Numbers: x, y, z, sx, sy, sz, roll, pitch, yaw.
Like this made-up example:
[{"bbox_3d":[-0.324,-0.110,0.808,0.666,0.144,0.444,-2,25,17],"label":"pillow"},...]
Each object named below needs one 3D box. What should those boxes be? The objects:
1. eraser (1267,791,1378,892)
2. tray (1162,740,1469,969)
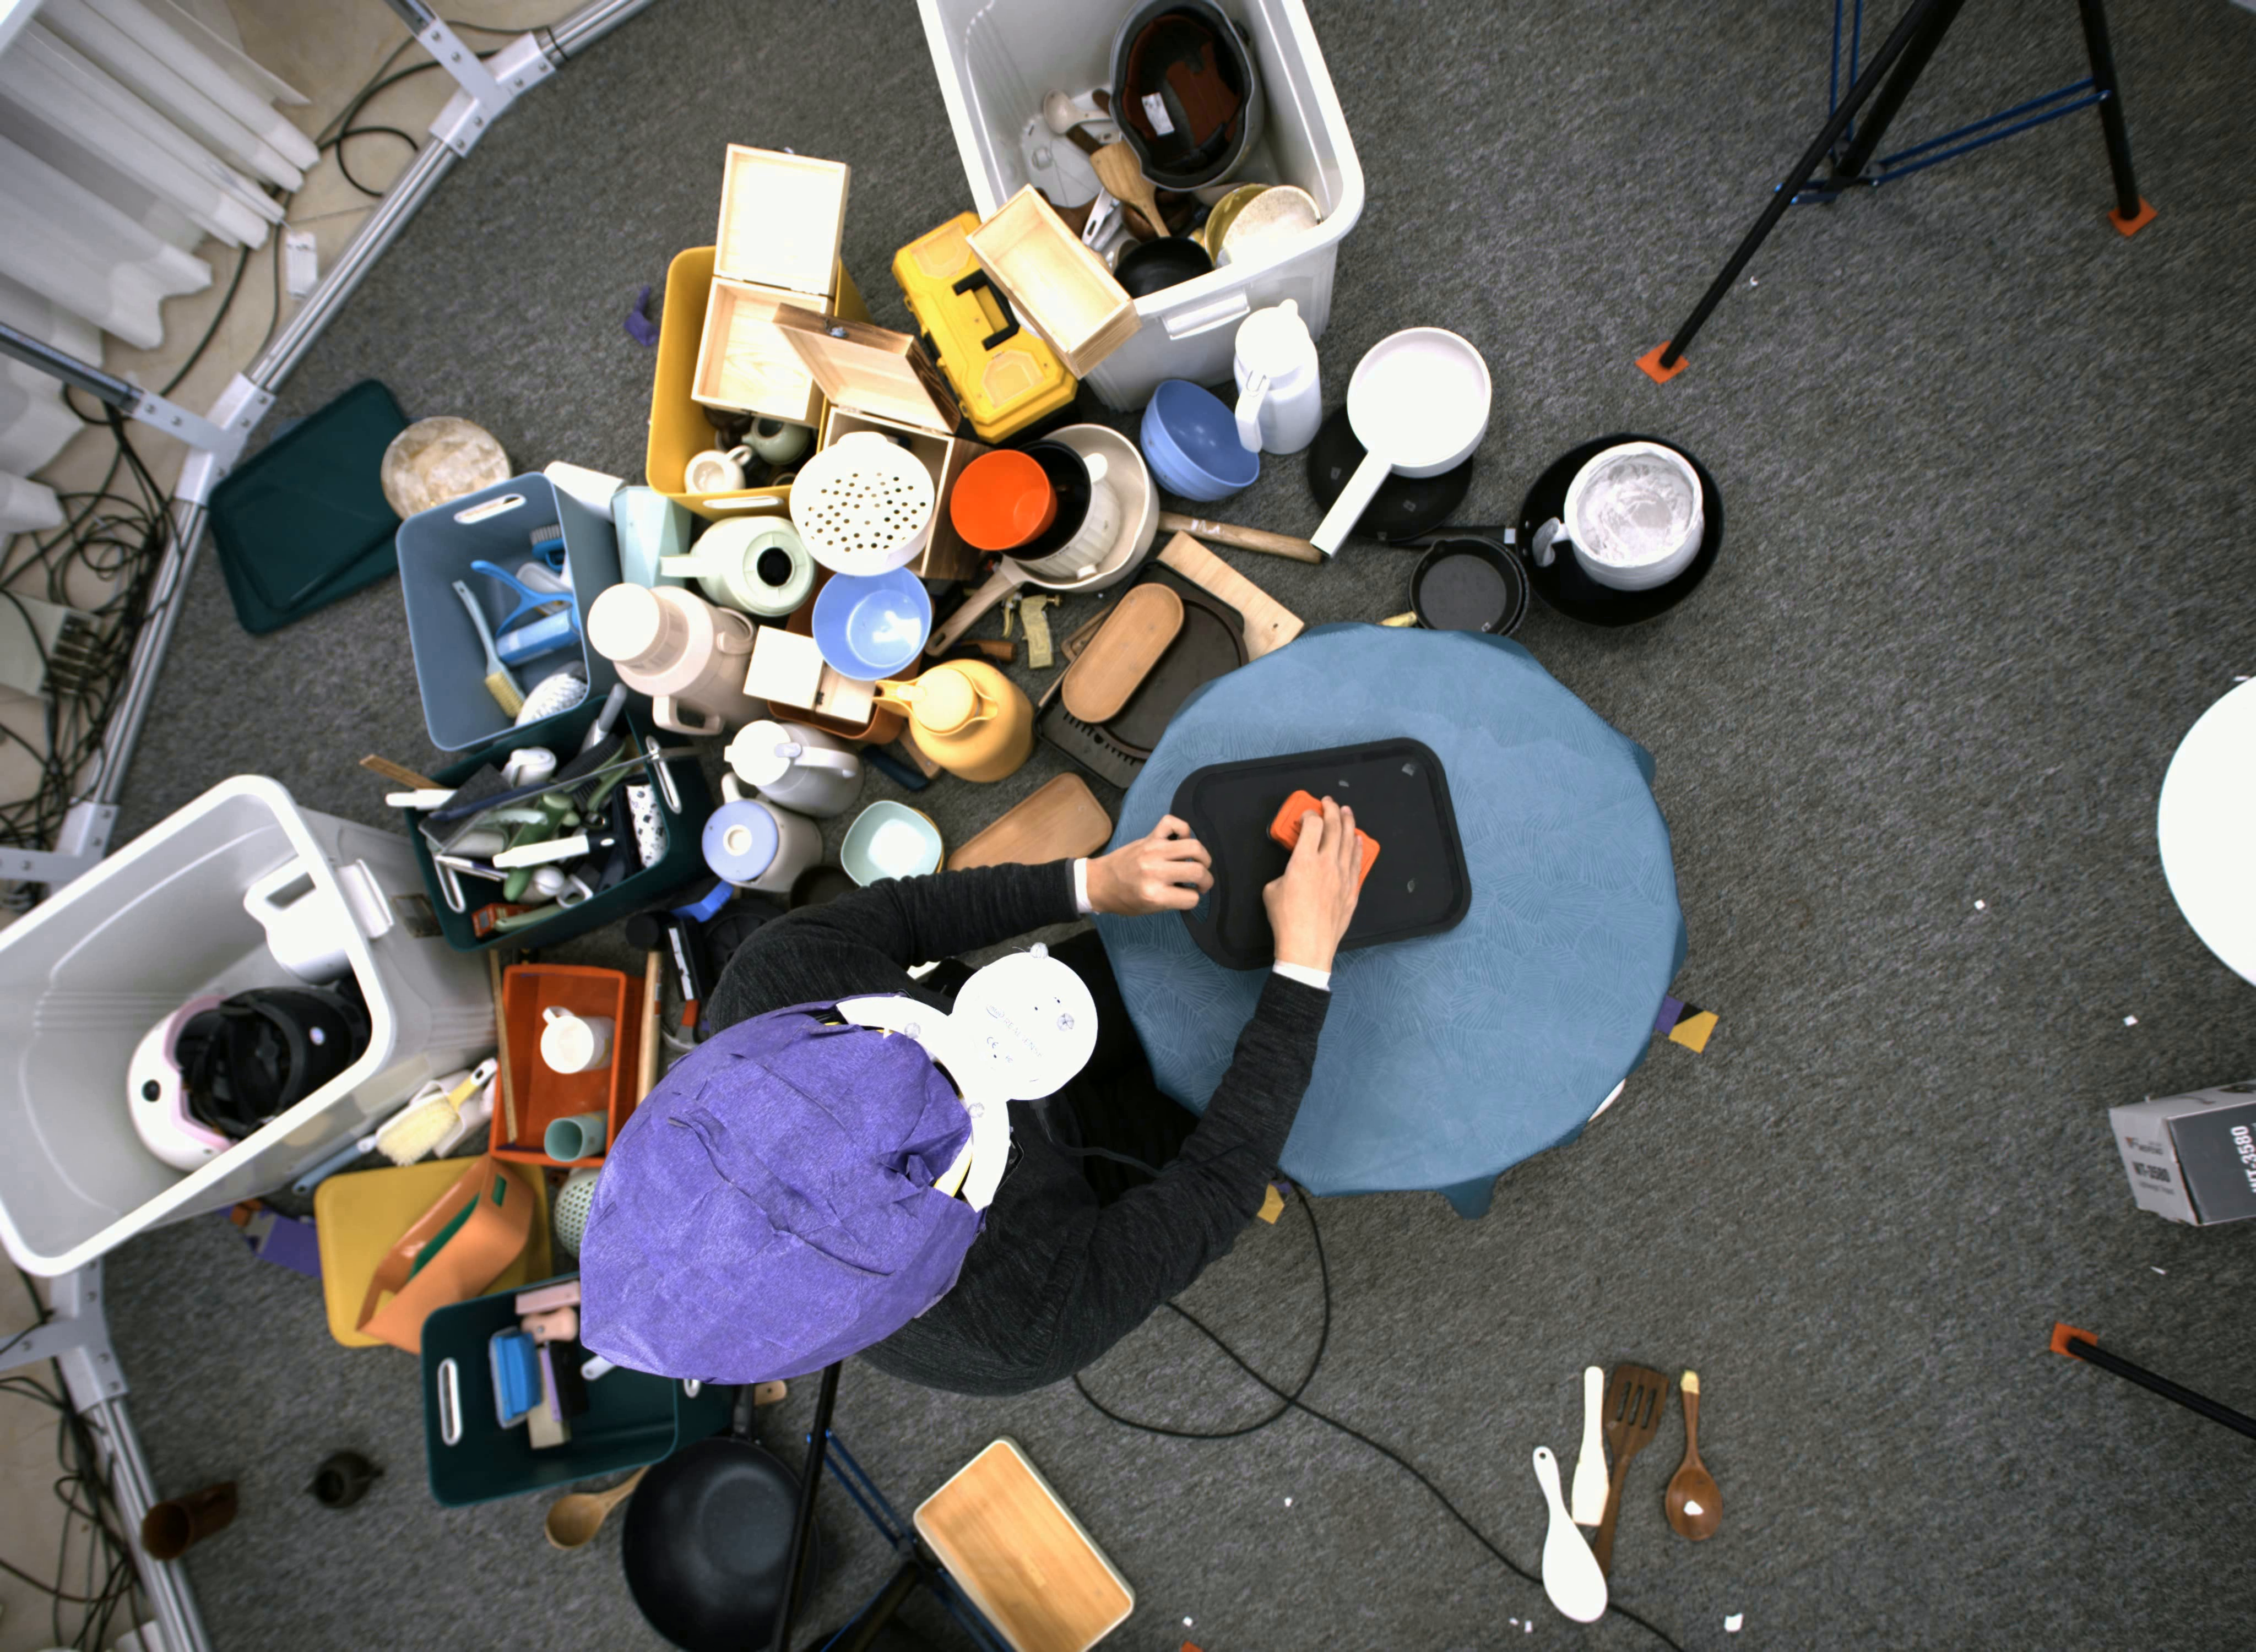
[{"bbox_3d":[0.197,0.015,1.401,0.108,0.023,0.058,35,77,-8],"label":"eraser"},{"bbox_3d":[0.193,0.026,1.408,0.324,0.010,0.210,-9,84,-15],"label":"tray"}]
